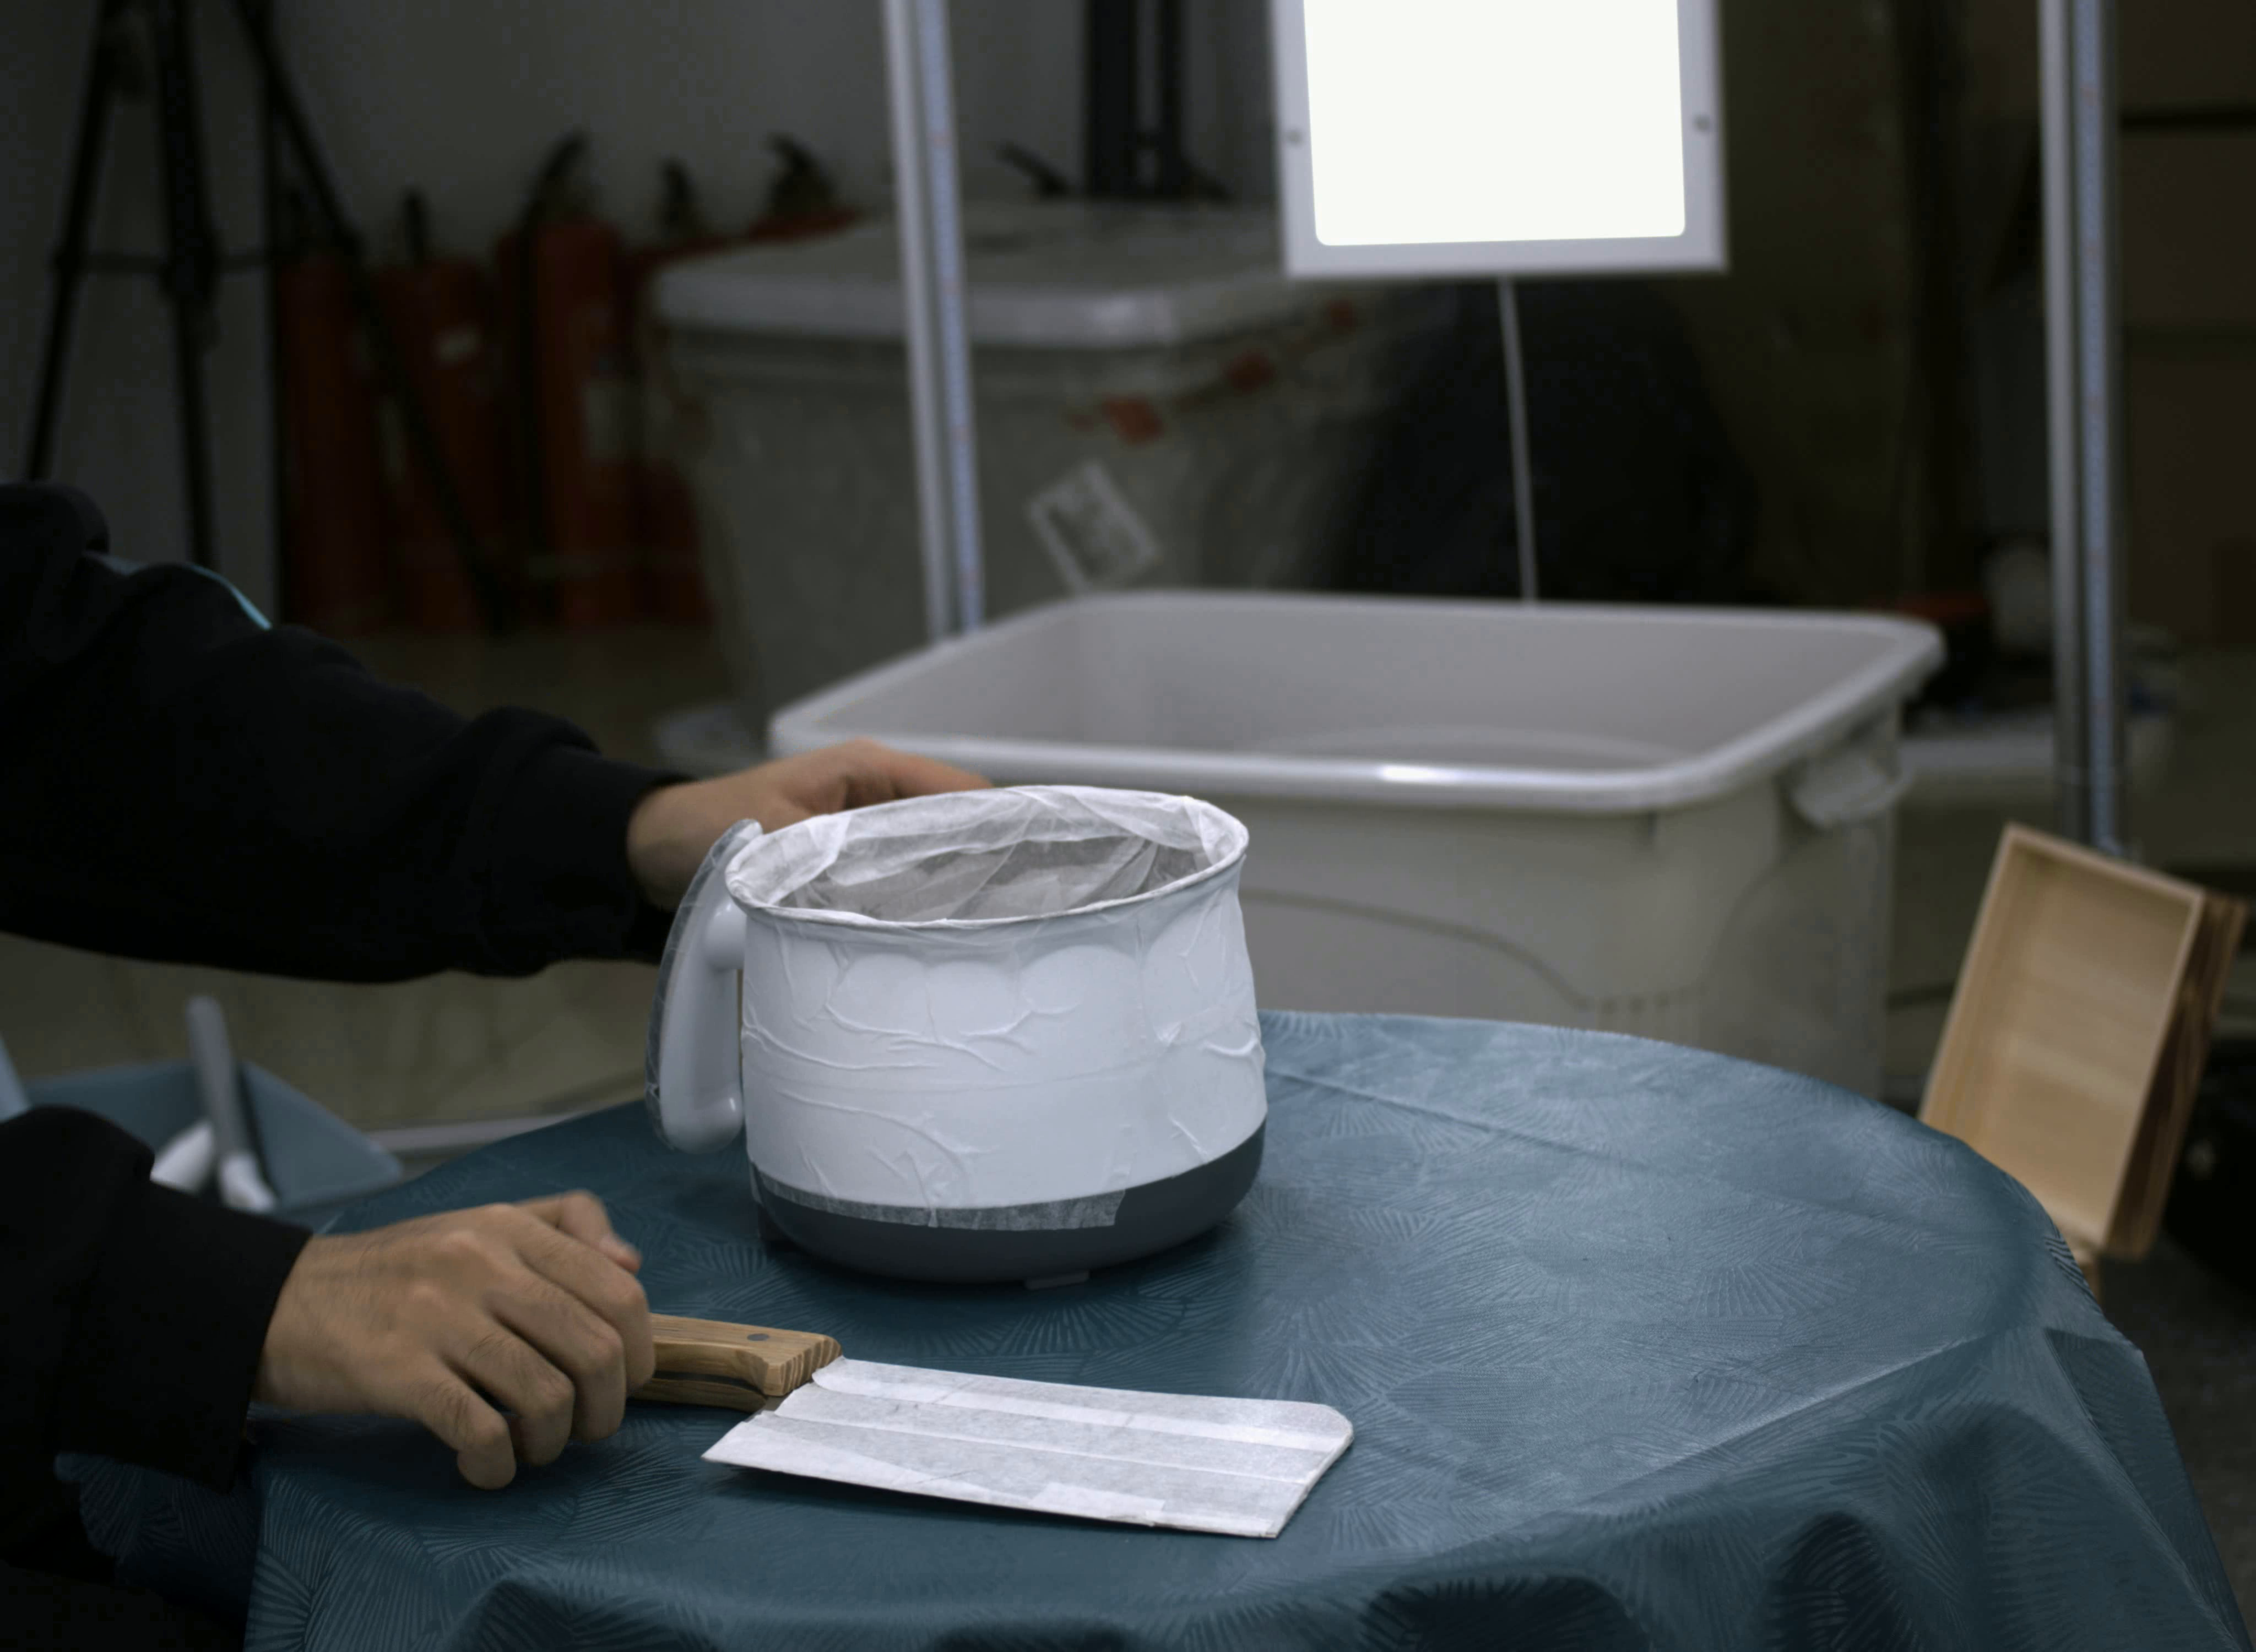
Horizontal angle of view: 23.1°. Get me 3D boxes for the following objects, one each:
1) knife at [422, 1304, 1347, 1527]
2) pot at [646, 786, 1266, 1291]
[{"bbox_3d":[-0.079,0.178,1.681,0.321,0.022,0.111,5,17,28],"label":"knife"},{"bbox_3d":[-0.067,0.068,1.870,0.238,0.137,0.174,5,16,32],"label":"pot"}]
